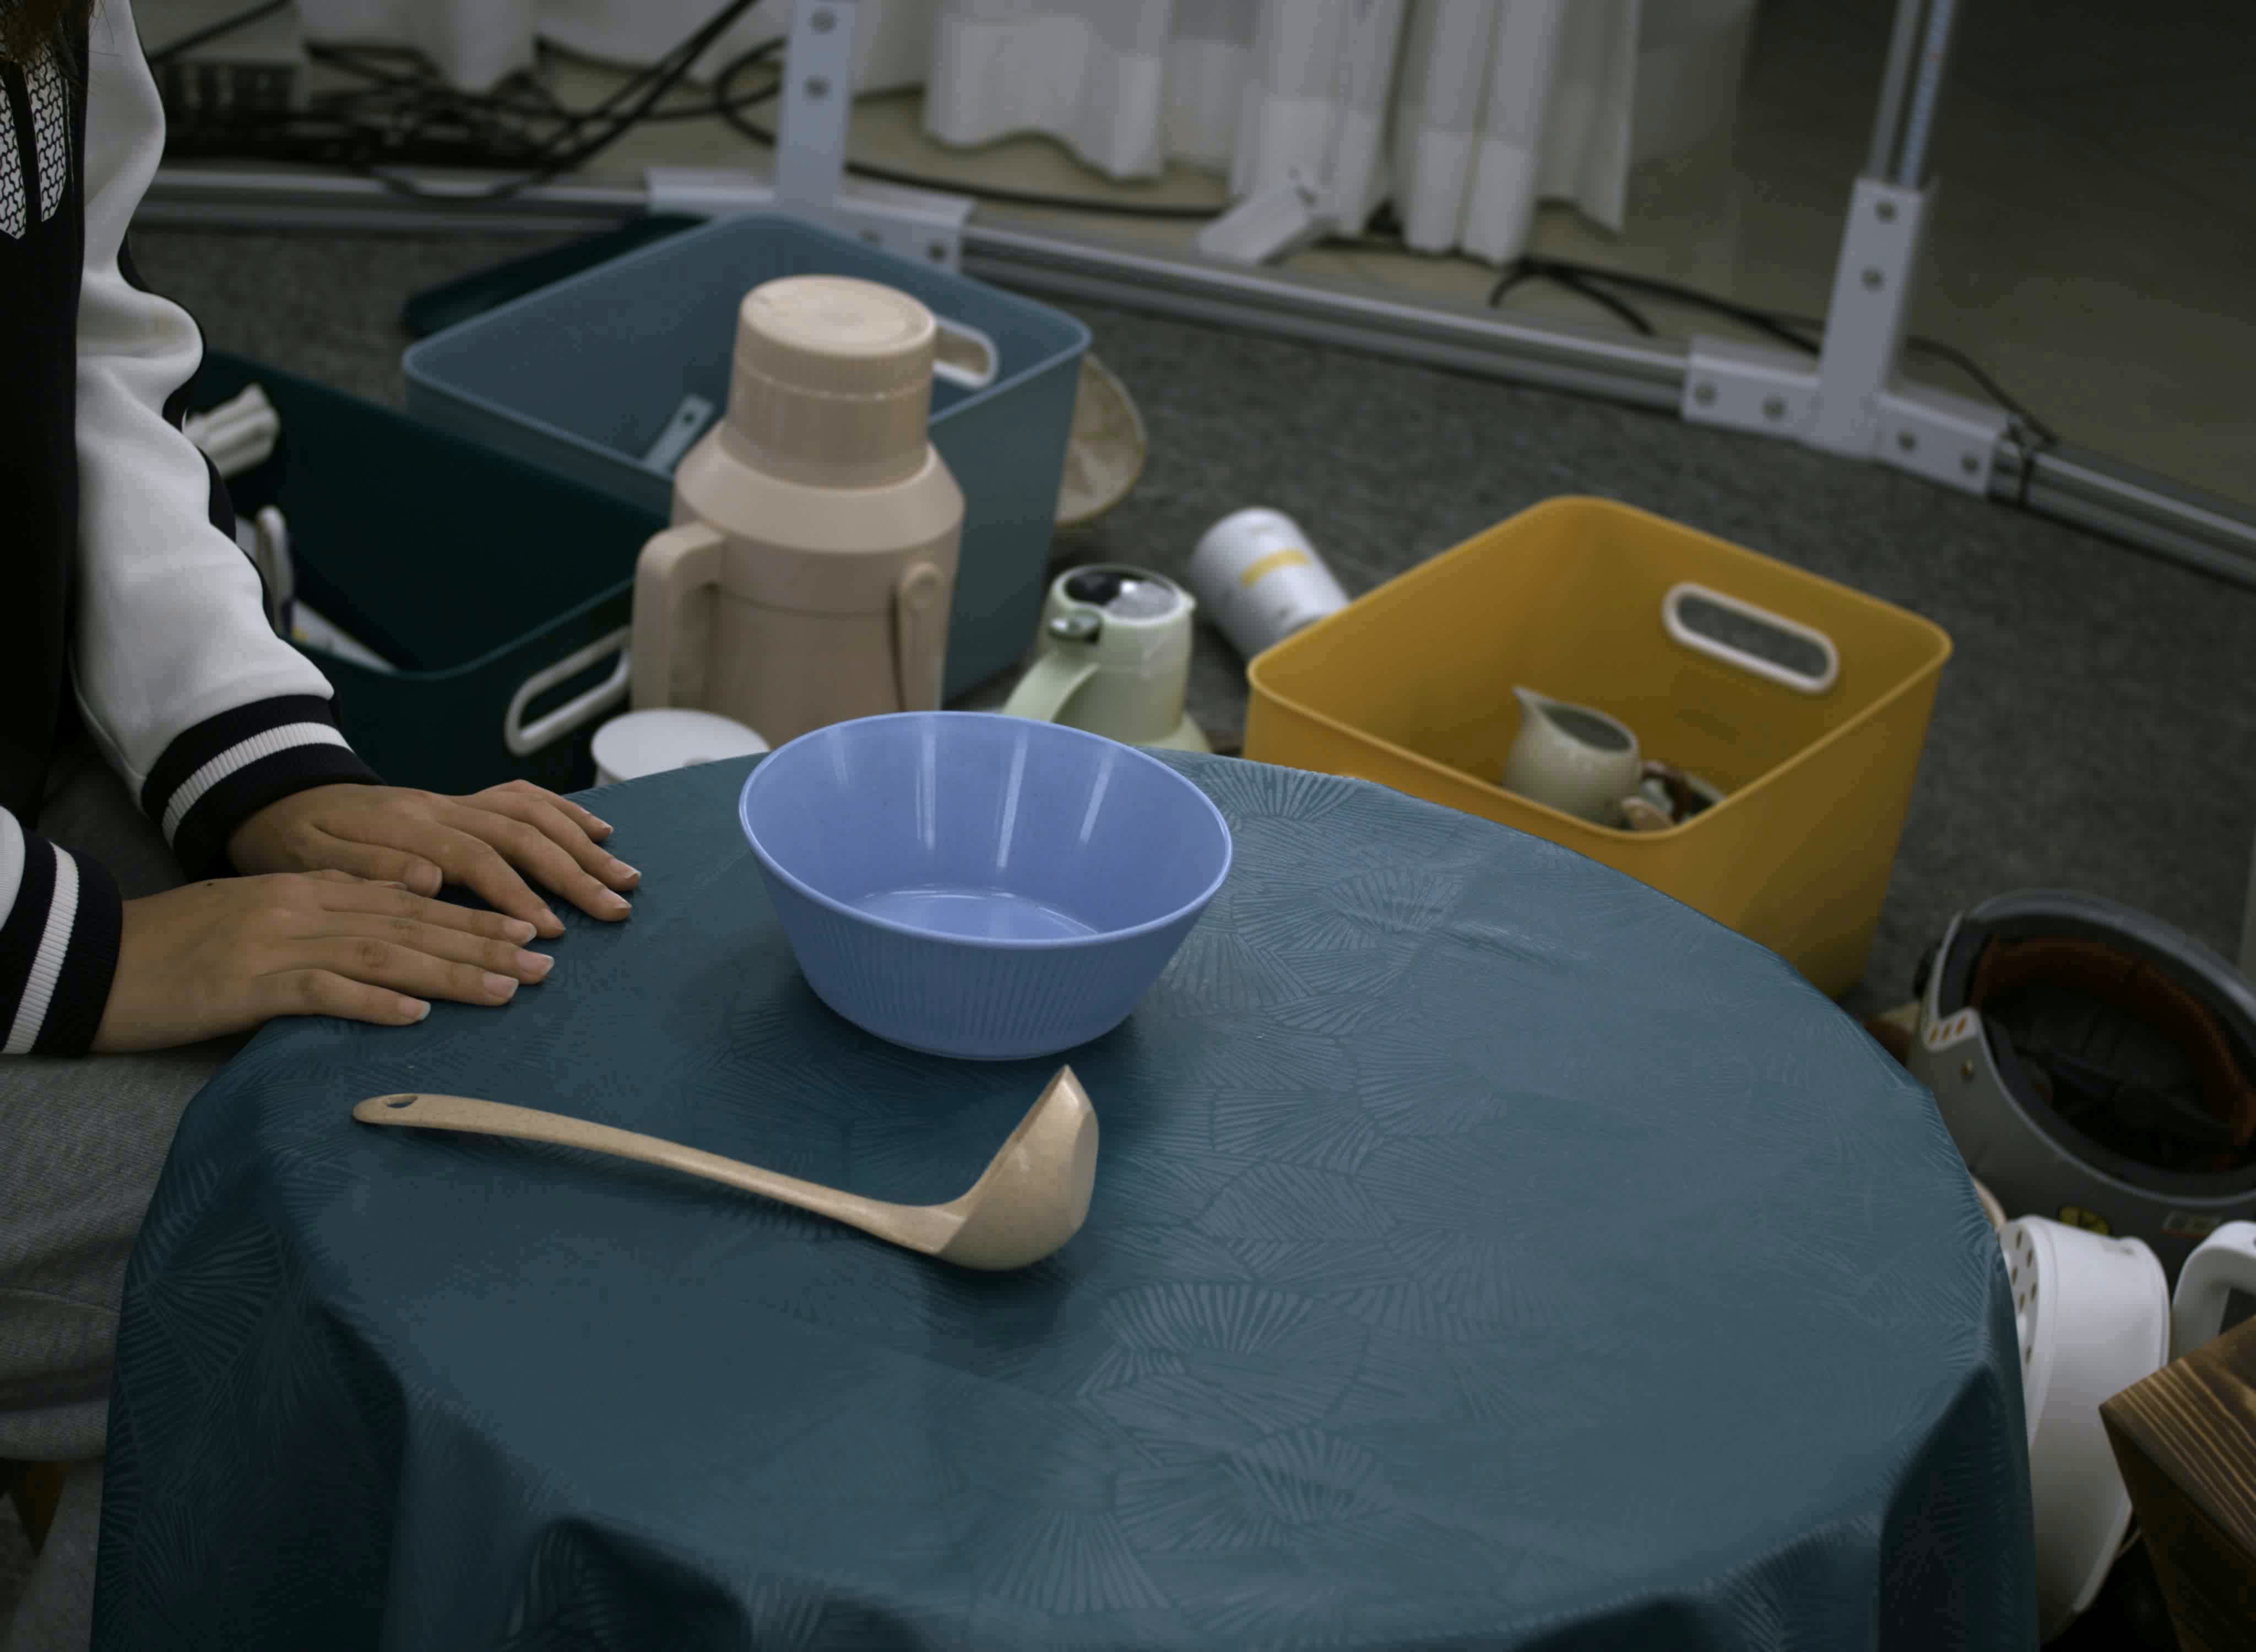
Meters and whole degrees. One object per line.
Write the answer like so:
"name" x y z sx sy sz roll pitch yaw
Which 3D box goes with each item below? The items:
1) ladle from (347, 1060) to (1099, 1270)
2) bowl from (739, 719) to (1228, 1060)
"ladle" -0.135 0.091 1.755 0.254 0.072 0.072 11 27 9
"bowl" -0.054 0.028 1.900 0.175 0.070 0.177 6 26 -3
